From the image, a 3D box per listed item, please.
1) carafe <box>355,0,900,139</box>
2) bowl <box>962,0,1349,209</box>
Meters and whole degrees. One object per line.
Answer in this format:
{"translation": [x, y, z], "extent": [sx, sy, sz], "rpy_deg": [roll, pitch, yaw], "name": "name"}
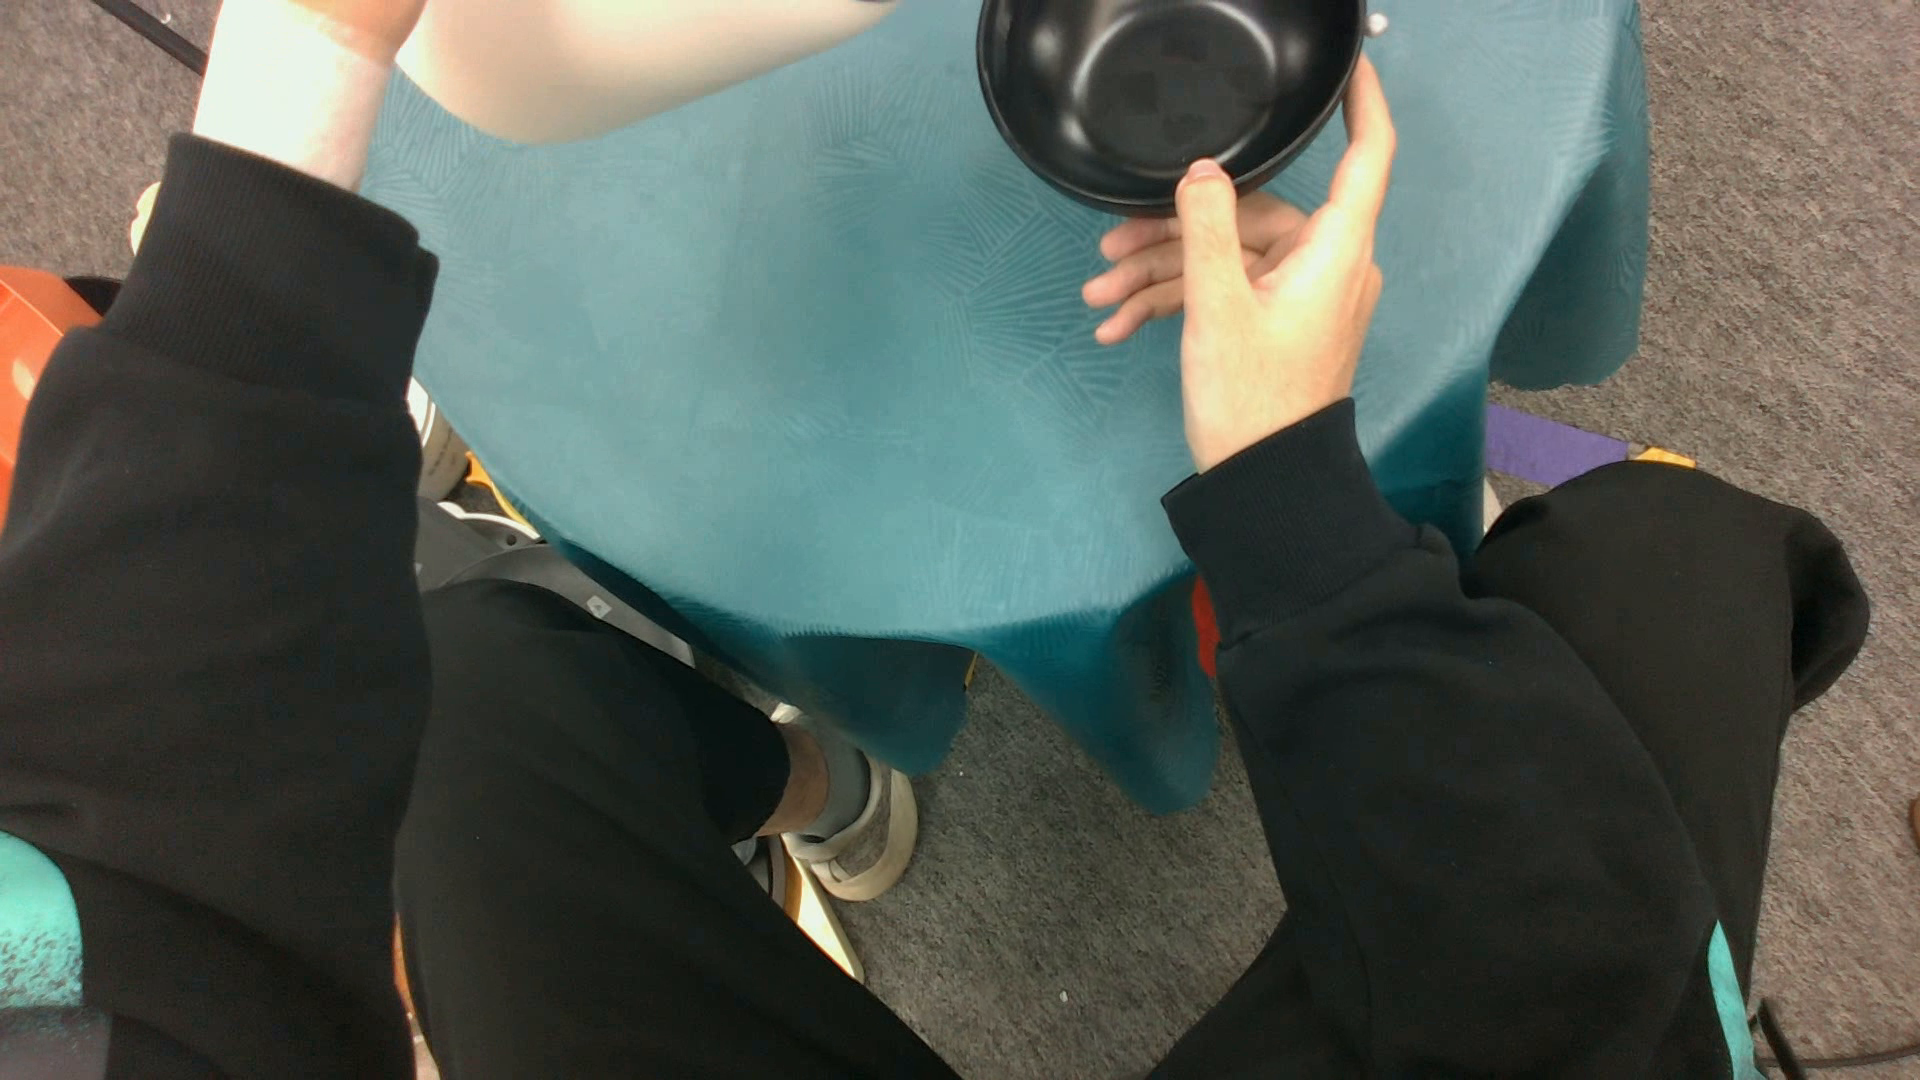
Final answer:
{"translation": [-0.117, -0.217, 0.431], "extent": [0.182, 0.191, 0.132], "rpy_deg": [-6, 82, 36], "name": "carafe"}
{"translation": [0.073, -0.183, 0.518], "extent": [0.140, 0.050, 0.140], "rpy_deg": [-3, 78, 13], "name": "bowl"}
